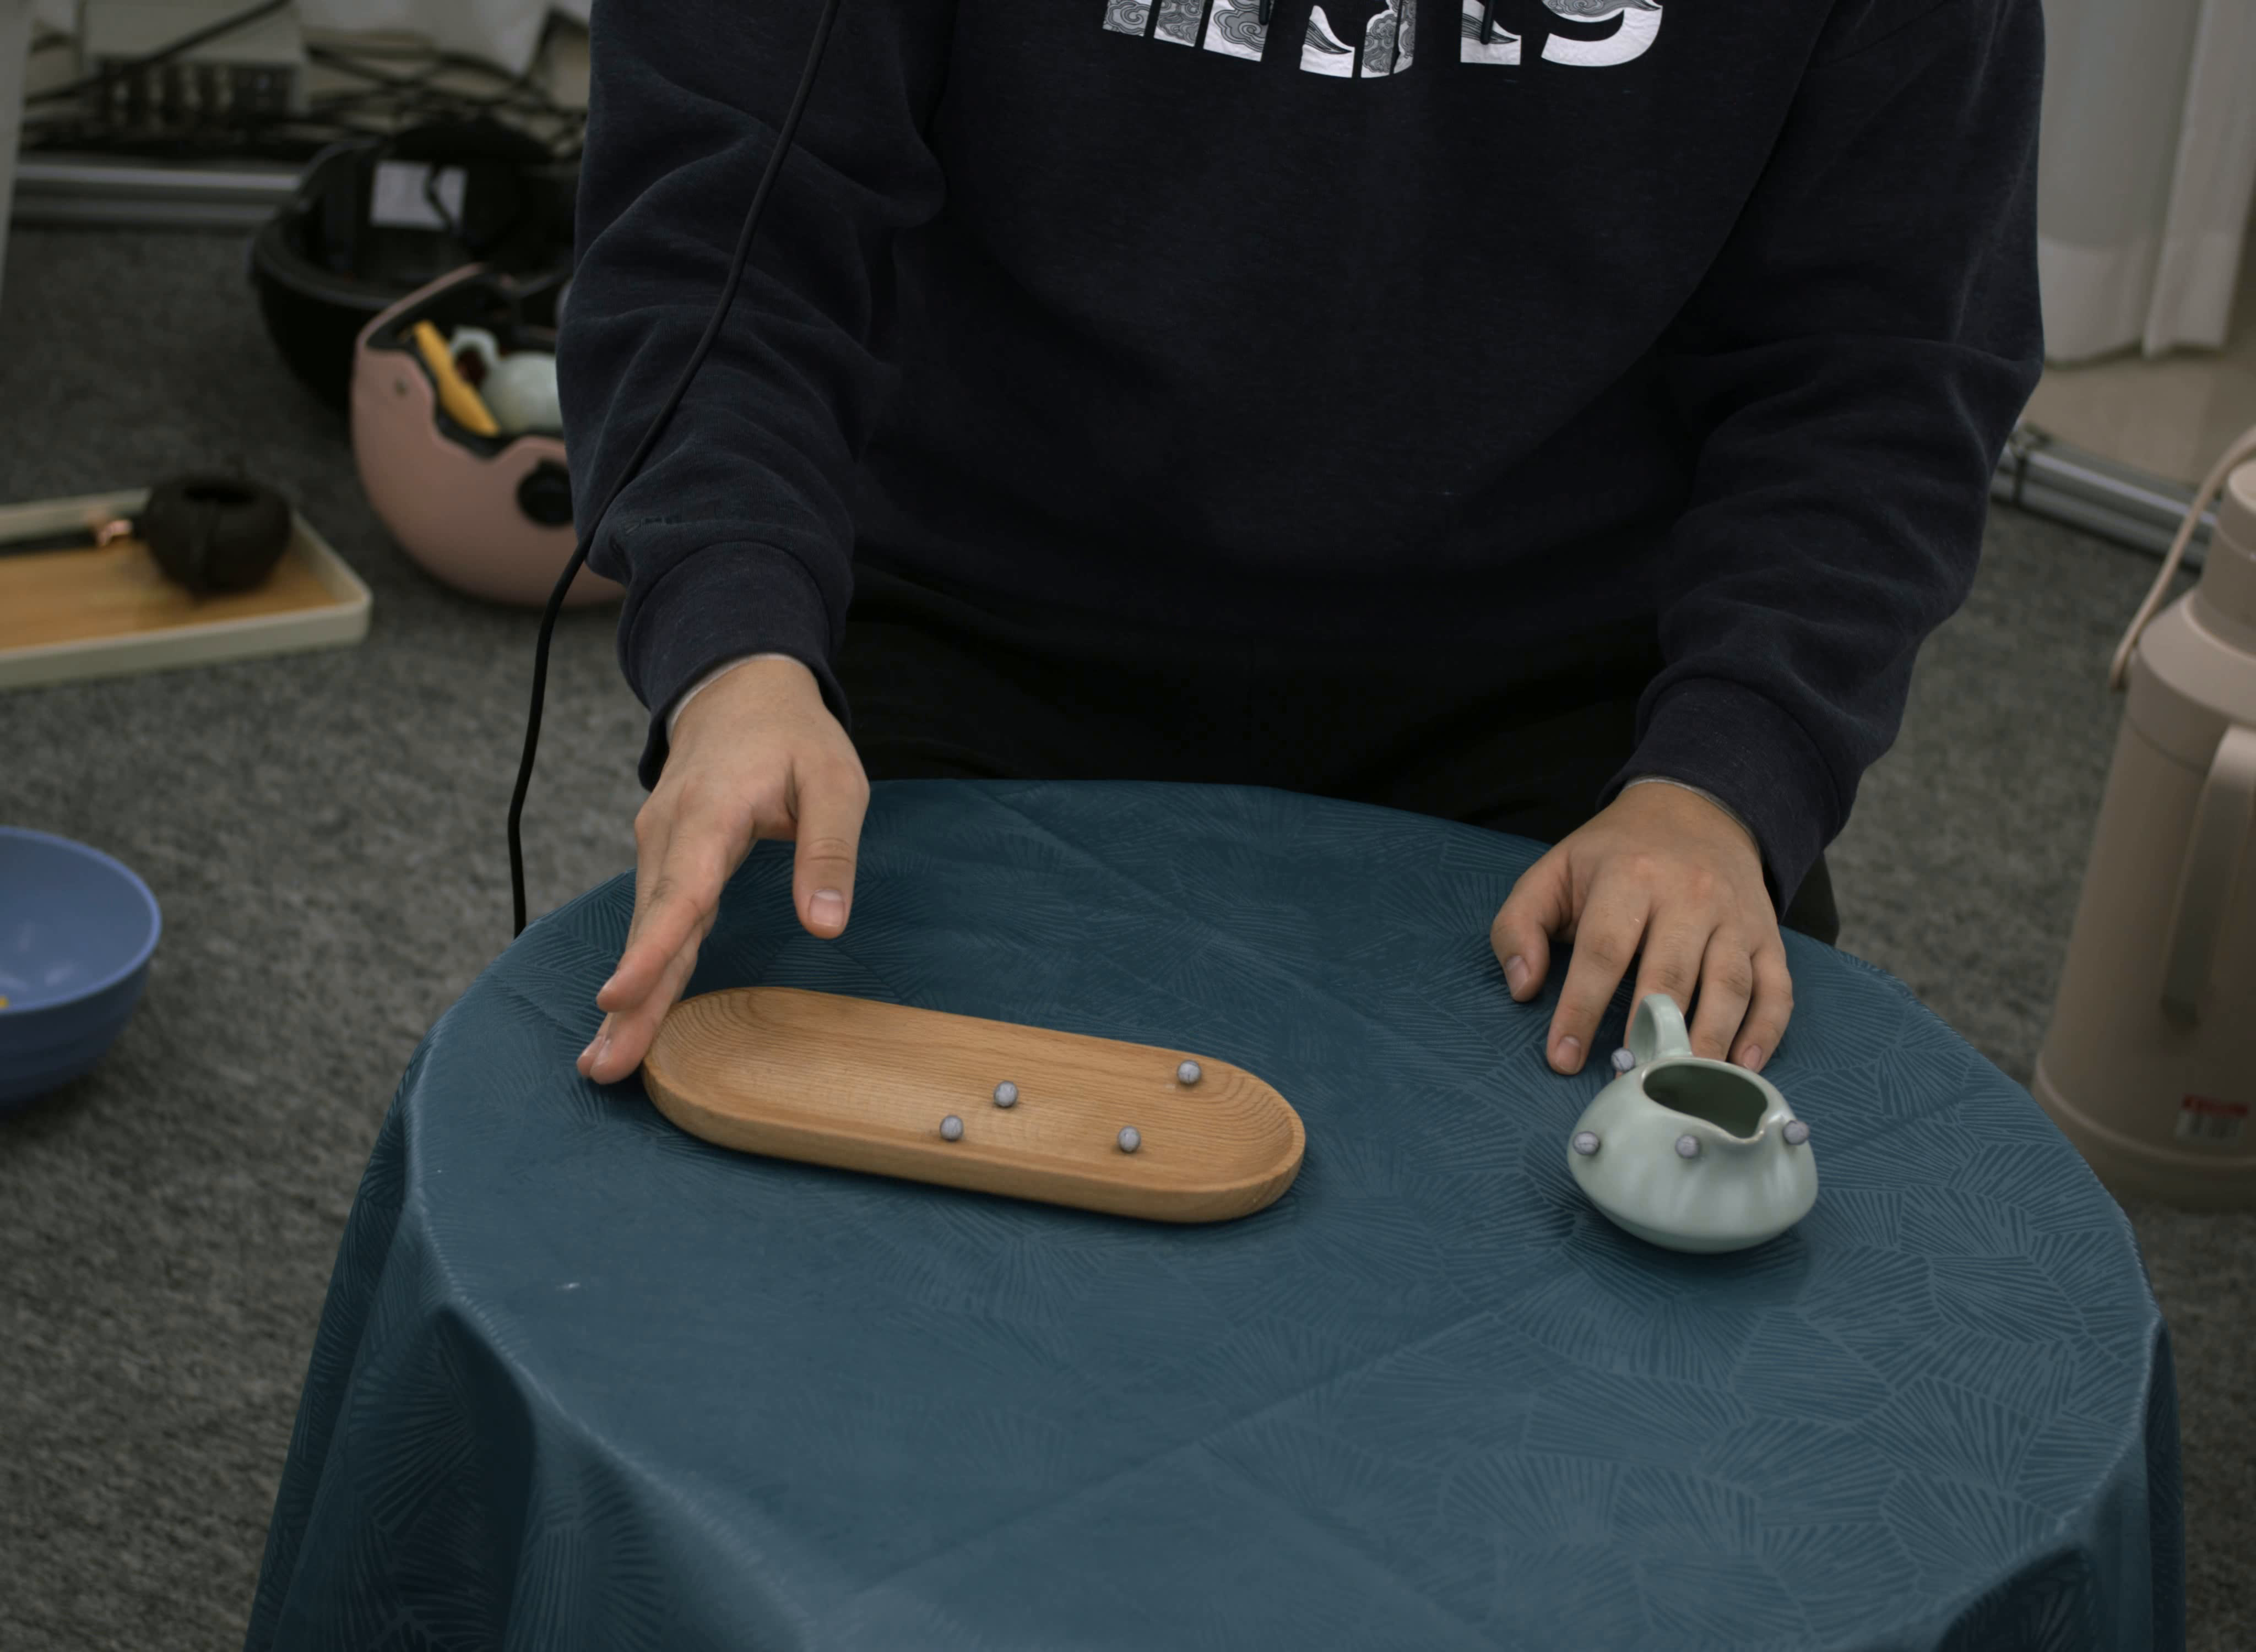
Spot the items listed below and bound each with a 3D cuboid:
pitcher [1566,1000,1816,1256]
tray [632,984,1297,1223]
[{"bbox_3d":[0.191,0.105,1.827,0.085,0.060,0.109,0,25,-16],"label":"pitcher"},{"bbox_3d":[-0.057,0.096,1.830,0.231,0.020,0.102,7,27,5],"label":"tray"}]
